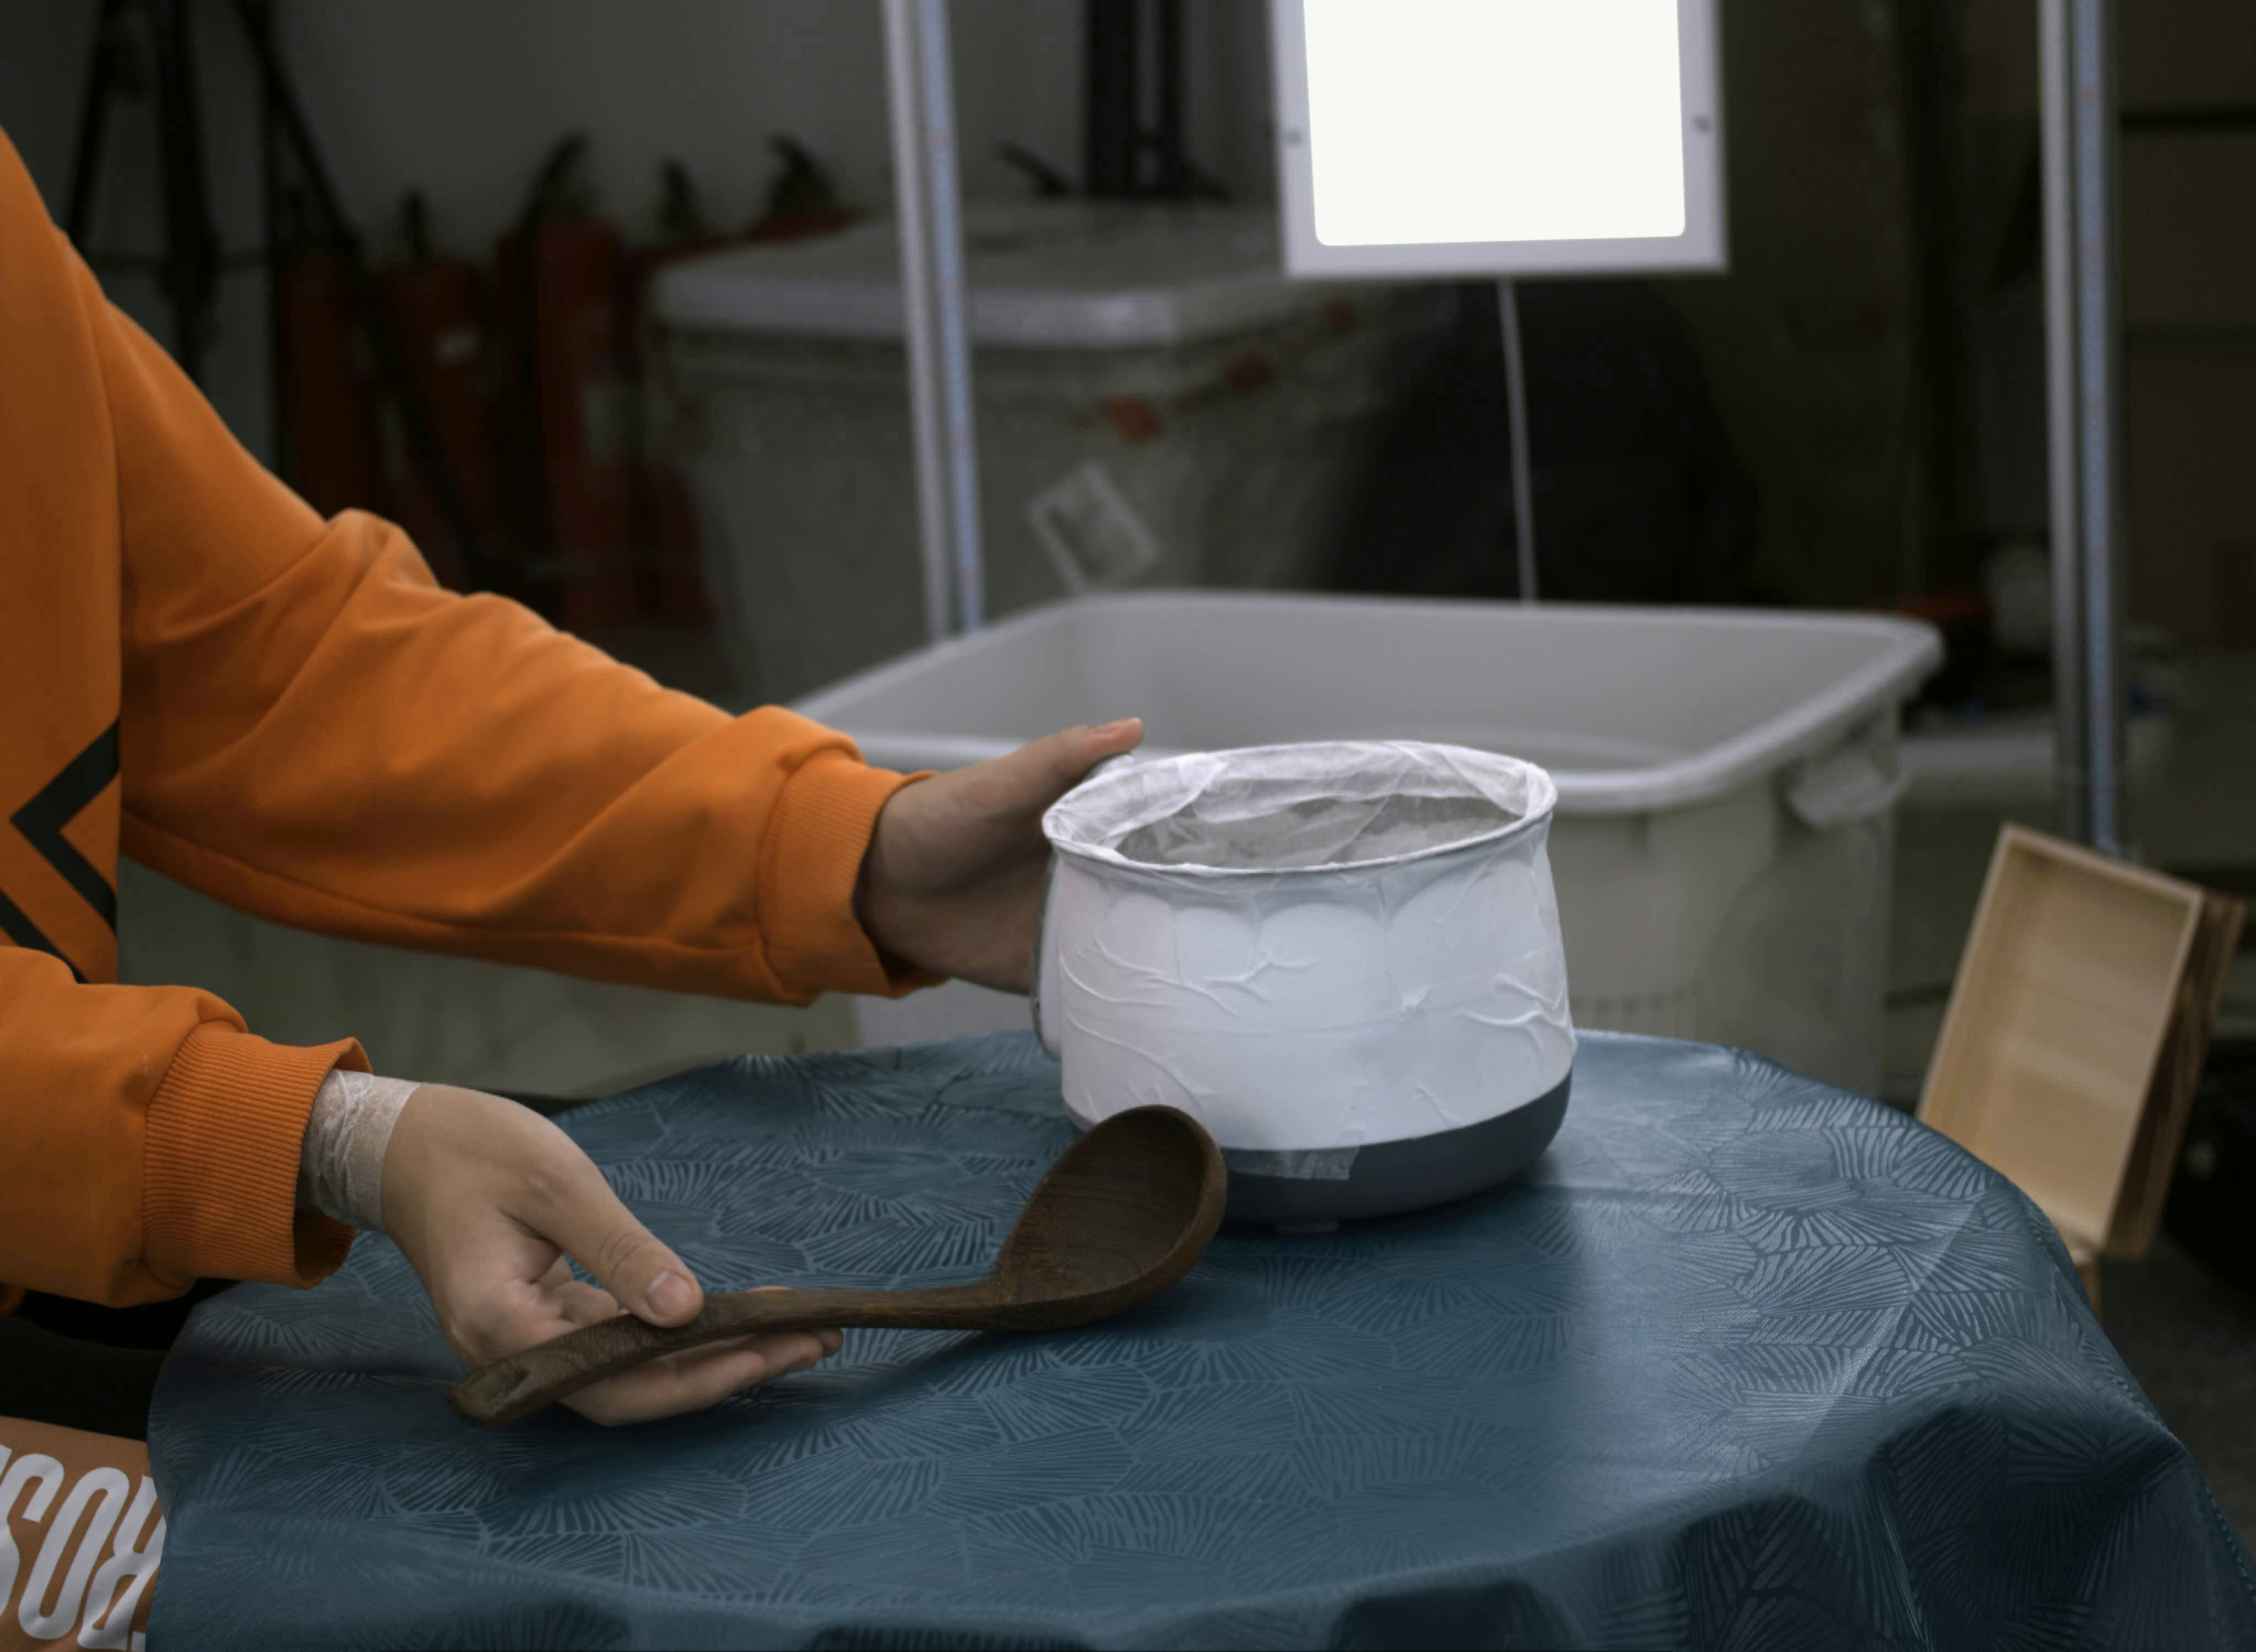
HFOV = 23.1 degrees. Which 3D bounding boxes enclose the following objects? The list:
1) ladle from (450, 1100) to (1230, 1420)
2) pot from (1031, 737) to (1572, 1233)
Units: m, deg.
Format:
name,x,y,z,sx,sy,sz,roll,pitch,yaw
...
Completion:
name,x,y,z,sx,sy,sz,roll,pitch,yaw
ladle,-0.087,0.133,1.719,0.267,0.072,0.077,-5,14,-34
pot,0.045,0.049,1.906,0.174,0.137,0.238,-15,17,-37
